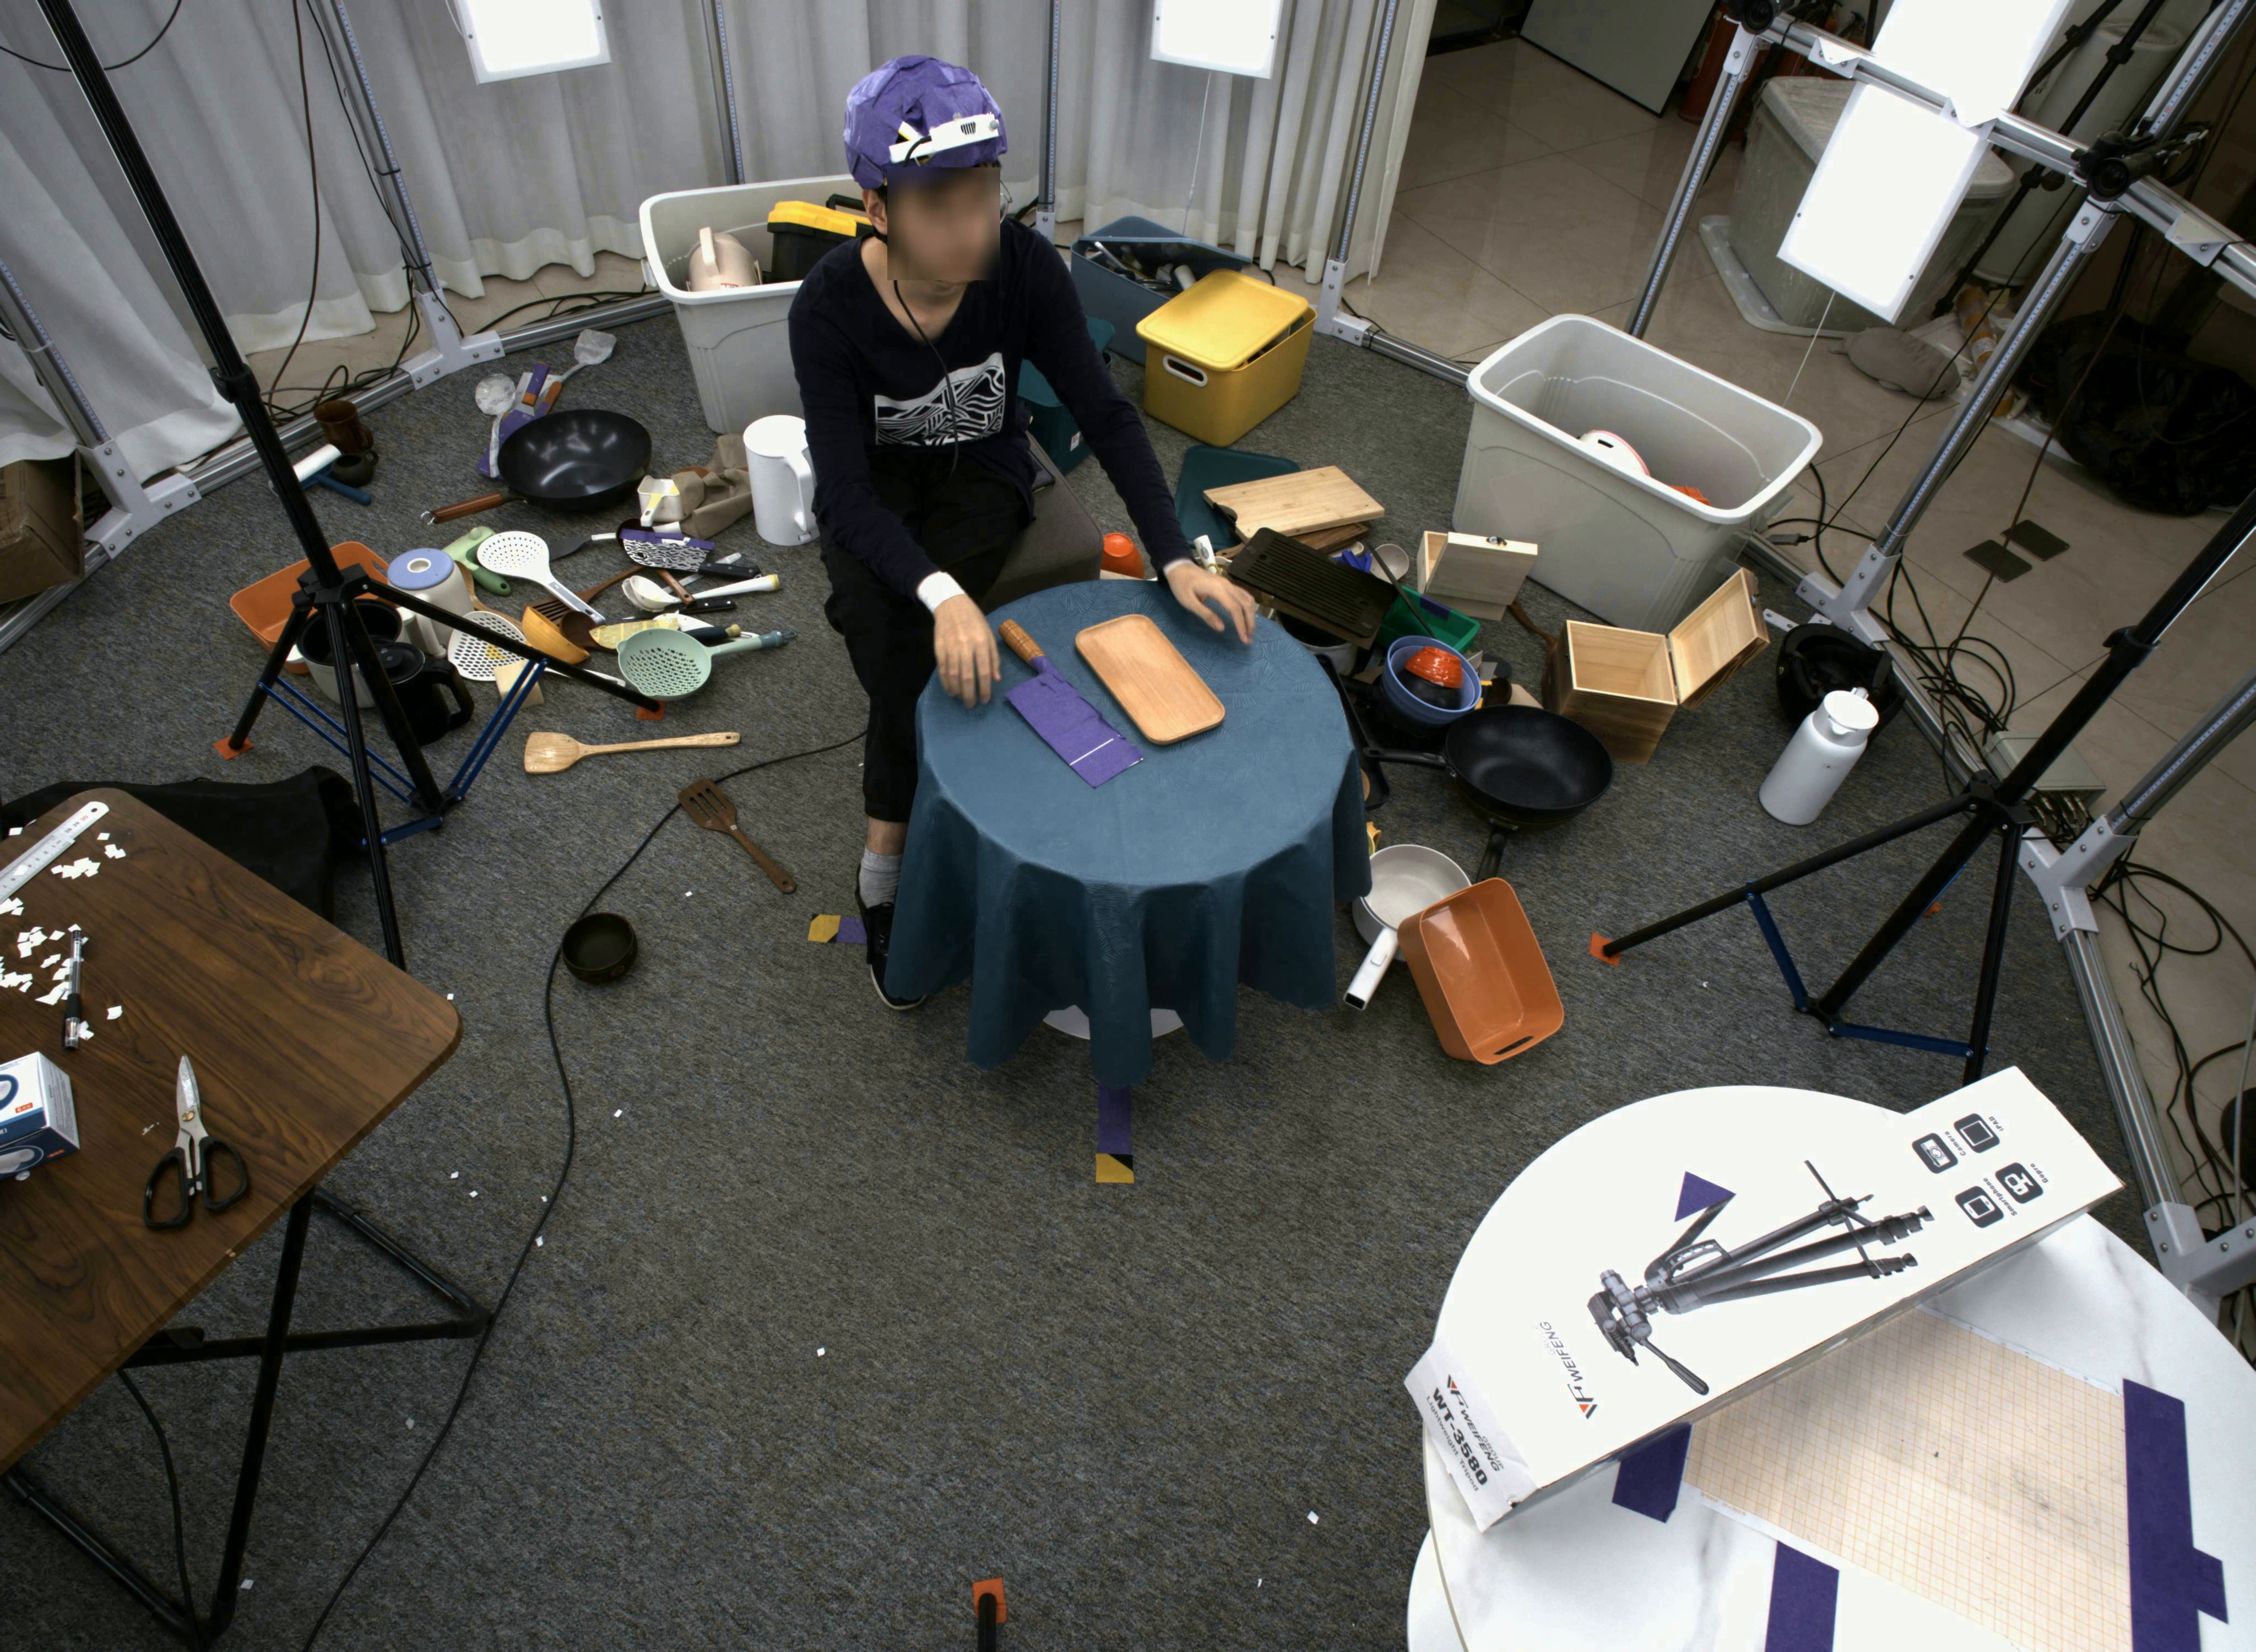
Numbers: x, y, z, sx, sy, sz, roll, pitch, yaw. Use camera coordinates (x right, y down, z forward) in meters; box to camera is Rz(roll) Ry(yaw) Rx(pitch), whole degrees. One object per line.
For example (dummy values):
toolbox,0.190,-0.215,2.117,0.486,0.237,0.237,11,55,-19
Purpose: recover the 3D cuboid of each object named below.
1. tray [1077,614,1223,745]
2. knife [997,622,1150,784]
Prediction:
tray,0.029,-0.213,1.843,0.131,0.022,0.256,-20,54,-17
knife,-0.105,-0.176,1.795,0.104,0.031,0.321,-29,57,-26
